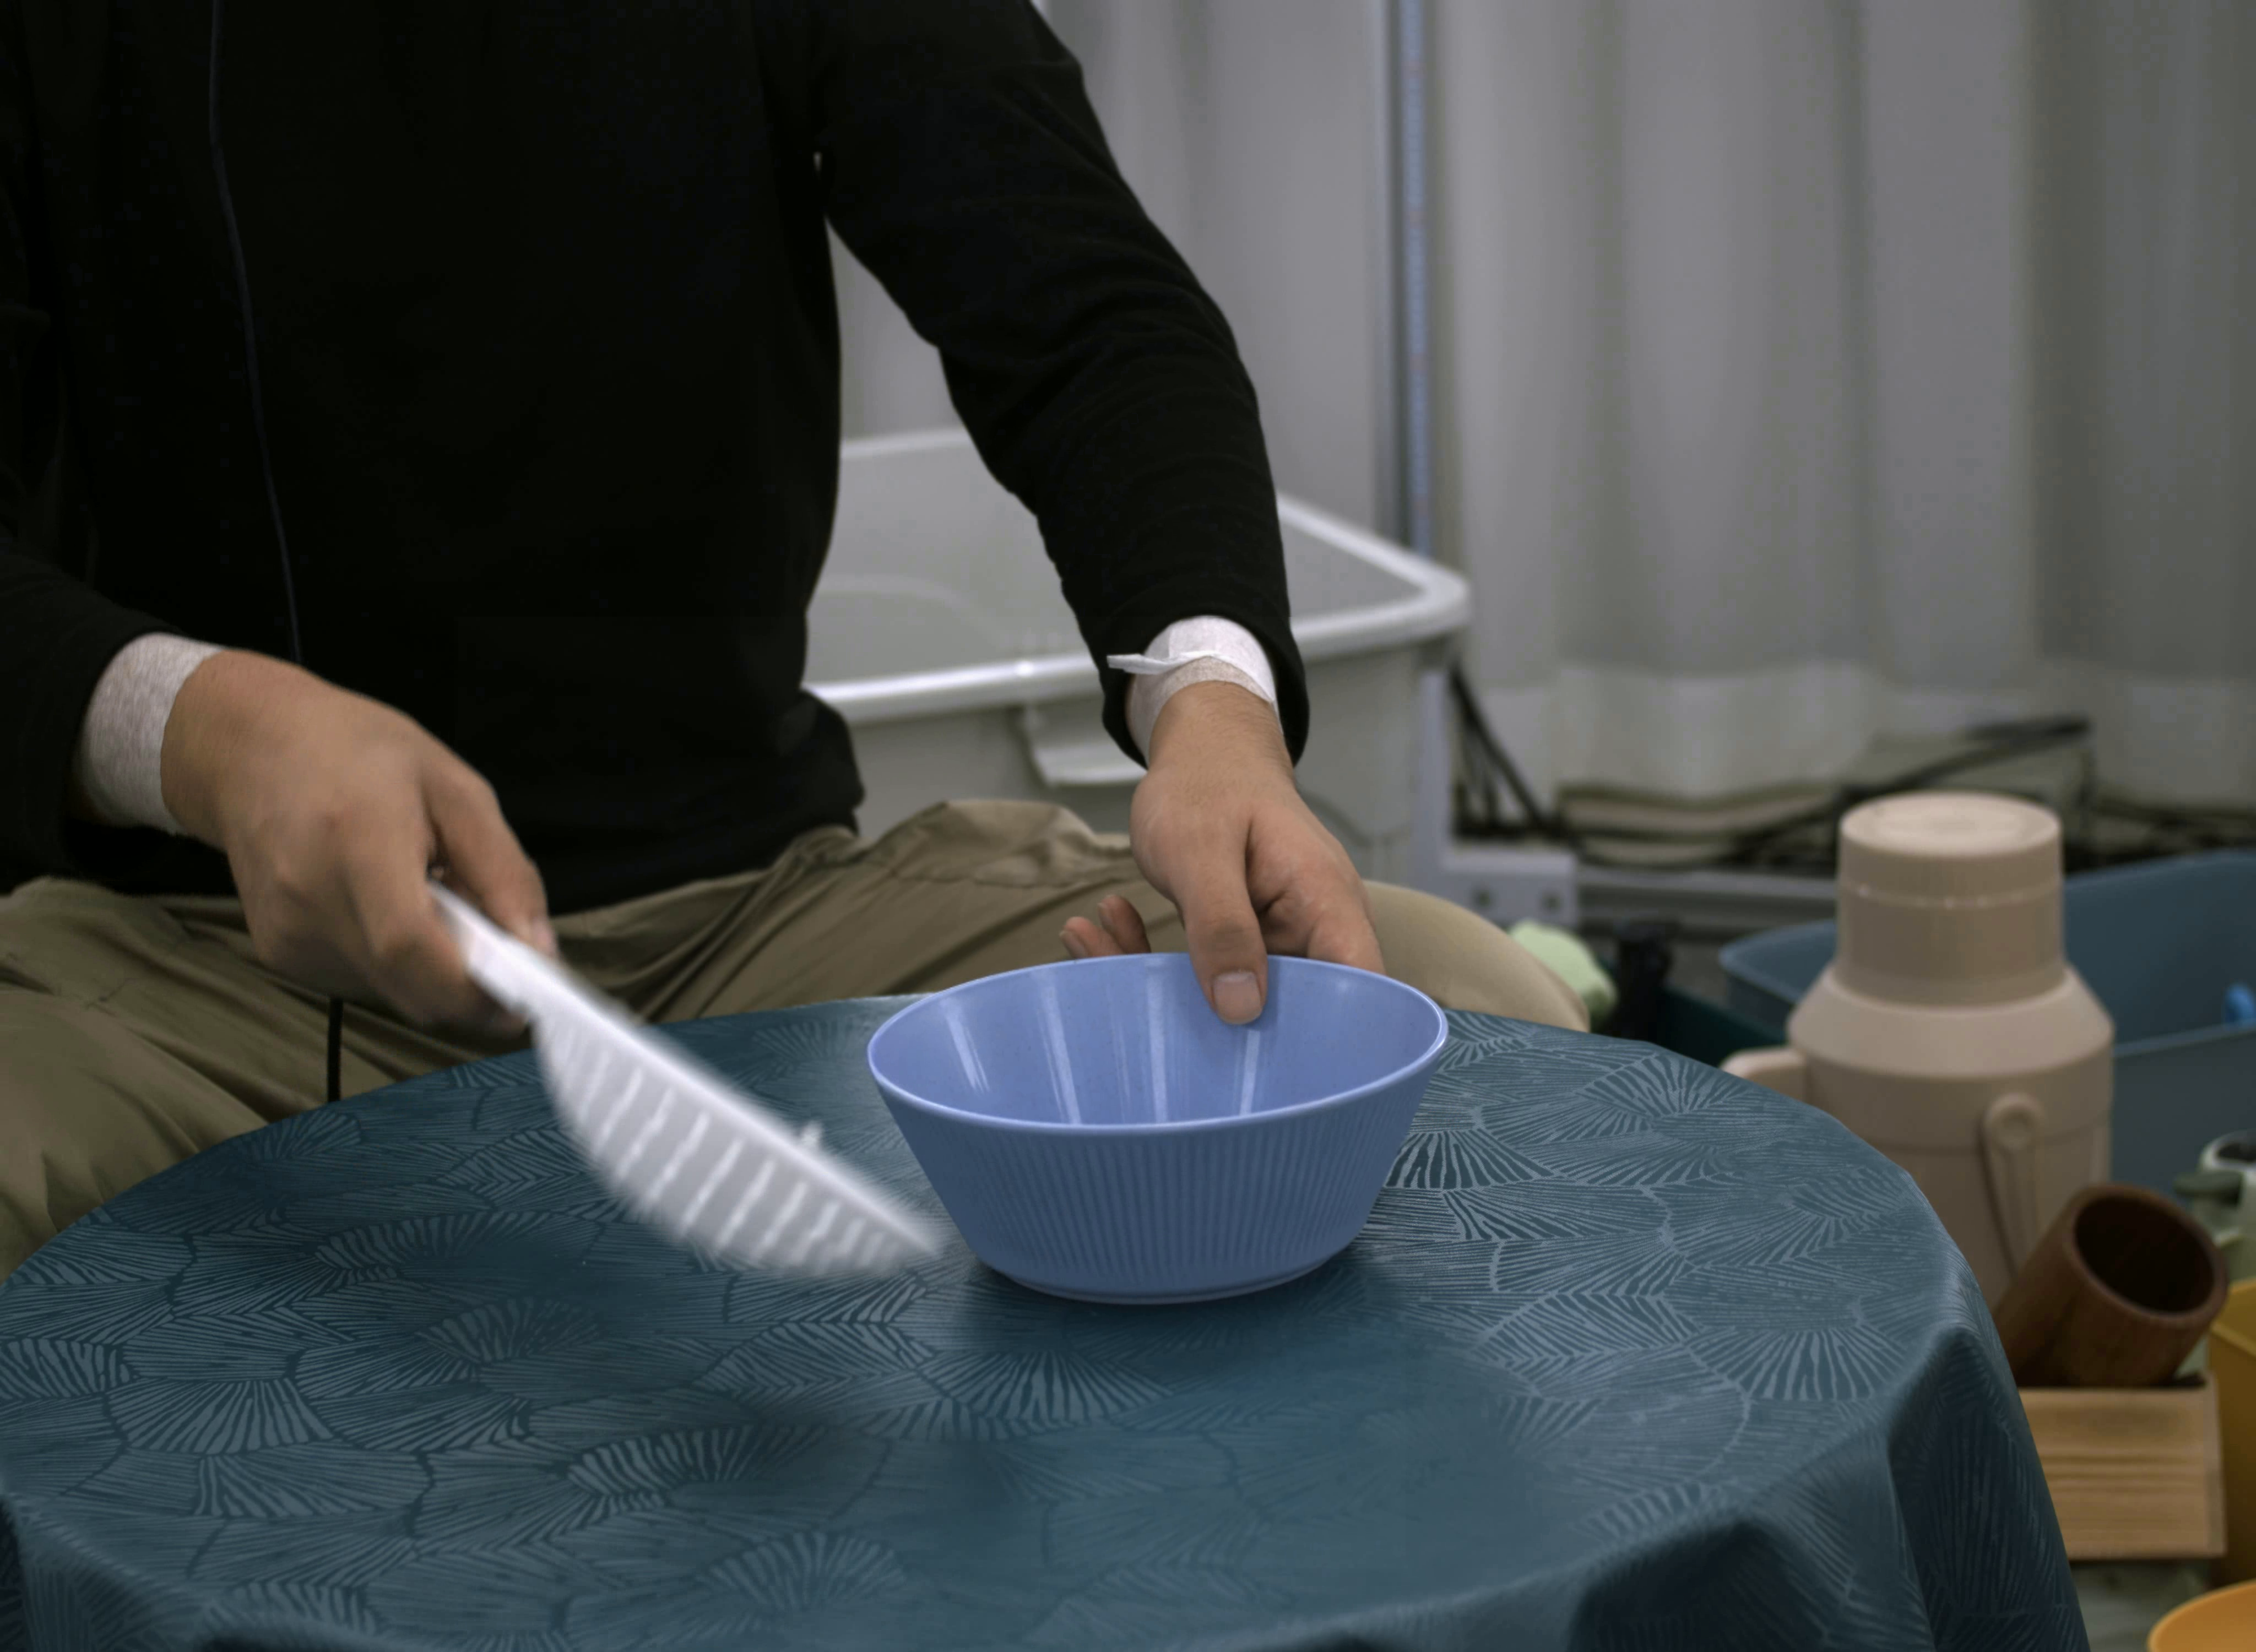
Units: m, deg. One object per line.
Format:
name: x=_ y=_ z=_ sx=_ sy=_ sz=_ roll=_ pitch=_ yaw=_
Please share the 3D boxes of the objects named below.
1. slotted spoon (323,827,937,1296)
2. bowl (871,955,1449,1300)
slotted spoon: x=-0.163 y=0.058 z=1.587 sx=0.134 sy=0.046 sz=0.353 roll=36 pitch=2 yaw=-33
bowl: x=0.011 y=0.094 z=1.655 sx=0.175 sy=0.070 sz=0.177 roll=-3 pitch=14 yaw=0
